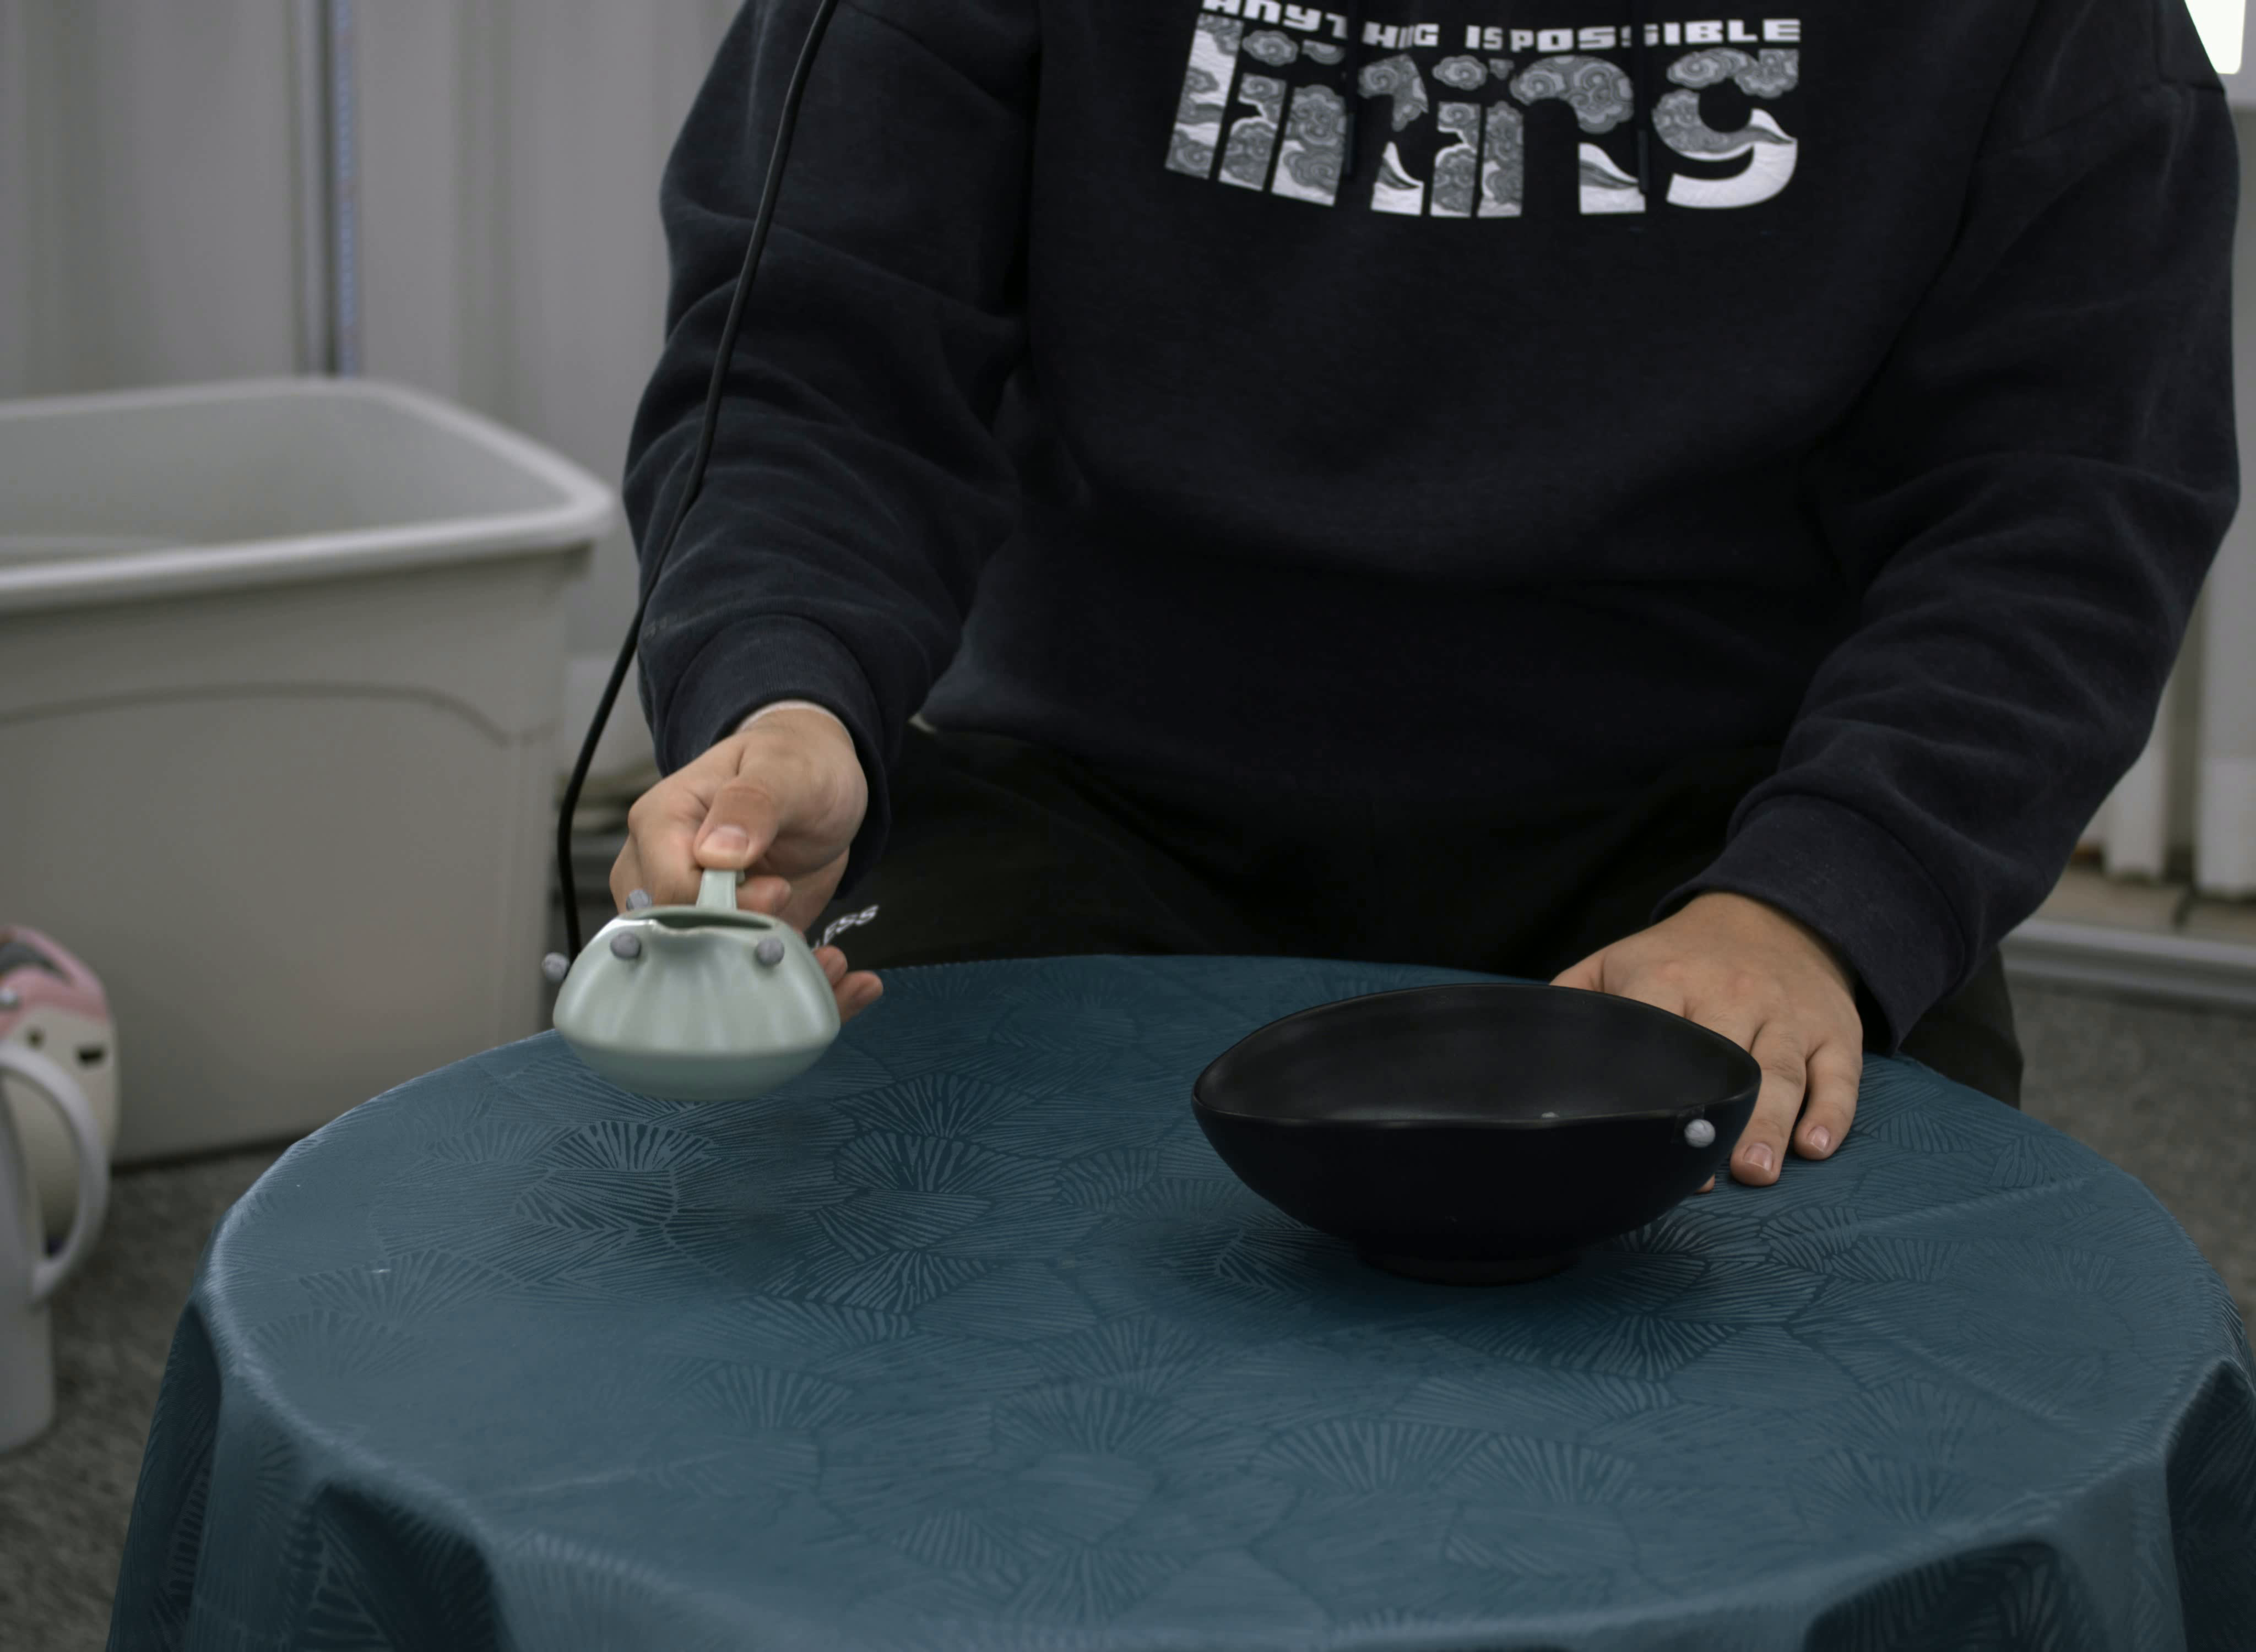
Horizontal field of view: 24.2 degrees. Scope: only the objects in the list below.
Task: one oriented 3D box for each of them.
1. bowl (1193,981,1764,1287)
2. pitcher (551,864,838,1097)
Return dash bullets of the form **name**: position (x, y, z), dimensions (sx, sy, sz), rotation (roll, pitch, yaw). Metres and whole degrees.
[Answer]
- **bowl**: position (0.105, 0.097, 1.571), dimensions (0.170, 0.067, 0.136), rotation (-1, 15, -4)
- **pitcher**: position (-0.128, 0.047, 1.585), dimensions (0.085, 0.061, 0.108), rotation (4, 8, 2)
